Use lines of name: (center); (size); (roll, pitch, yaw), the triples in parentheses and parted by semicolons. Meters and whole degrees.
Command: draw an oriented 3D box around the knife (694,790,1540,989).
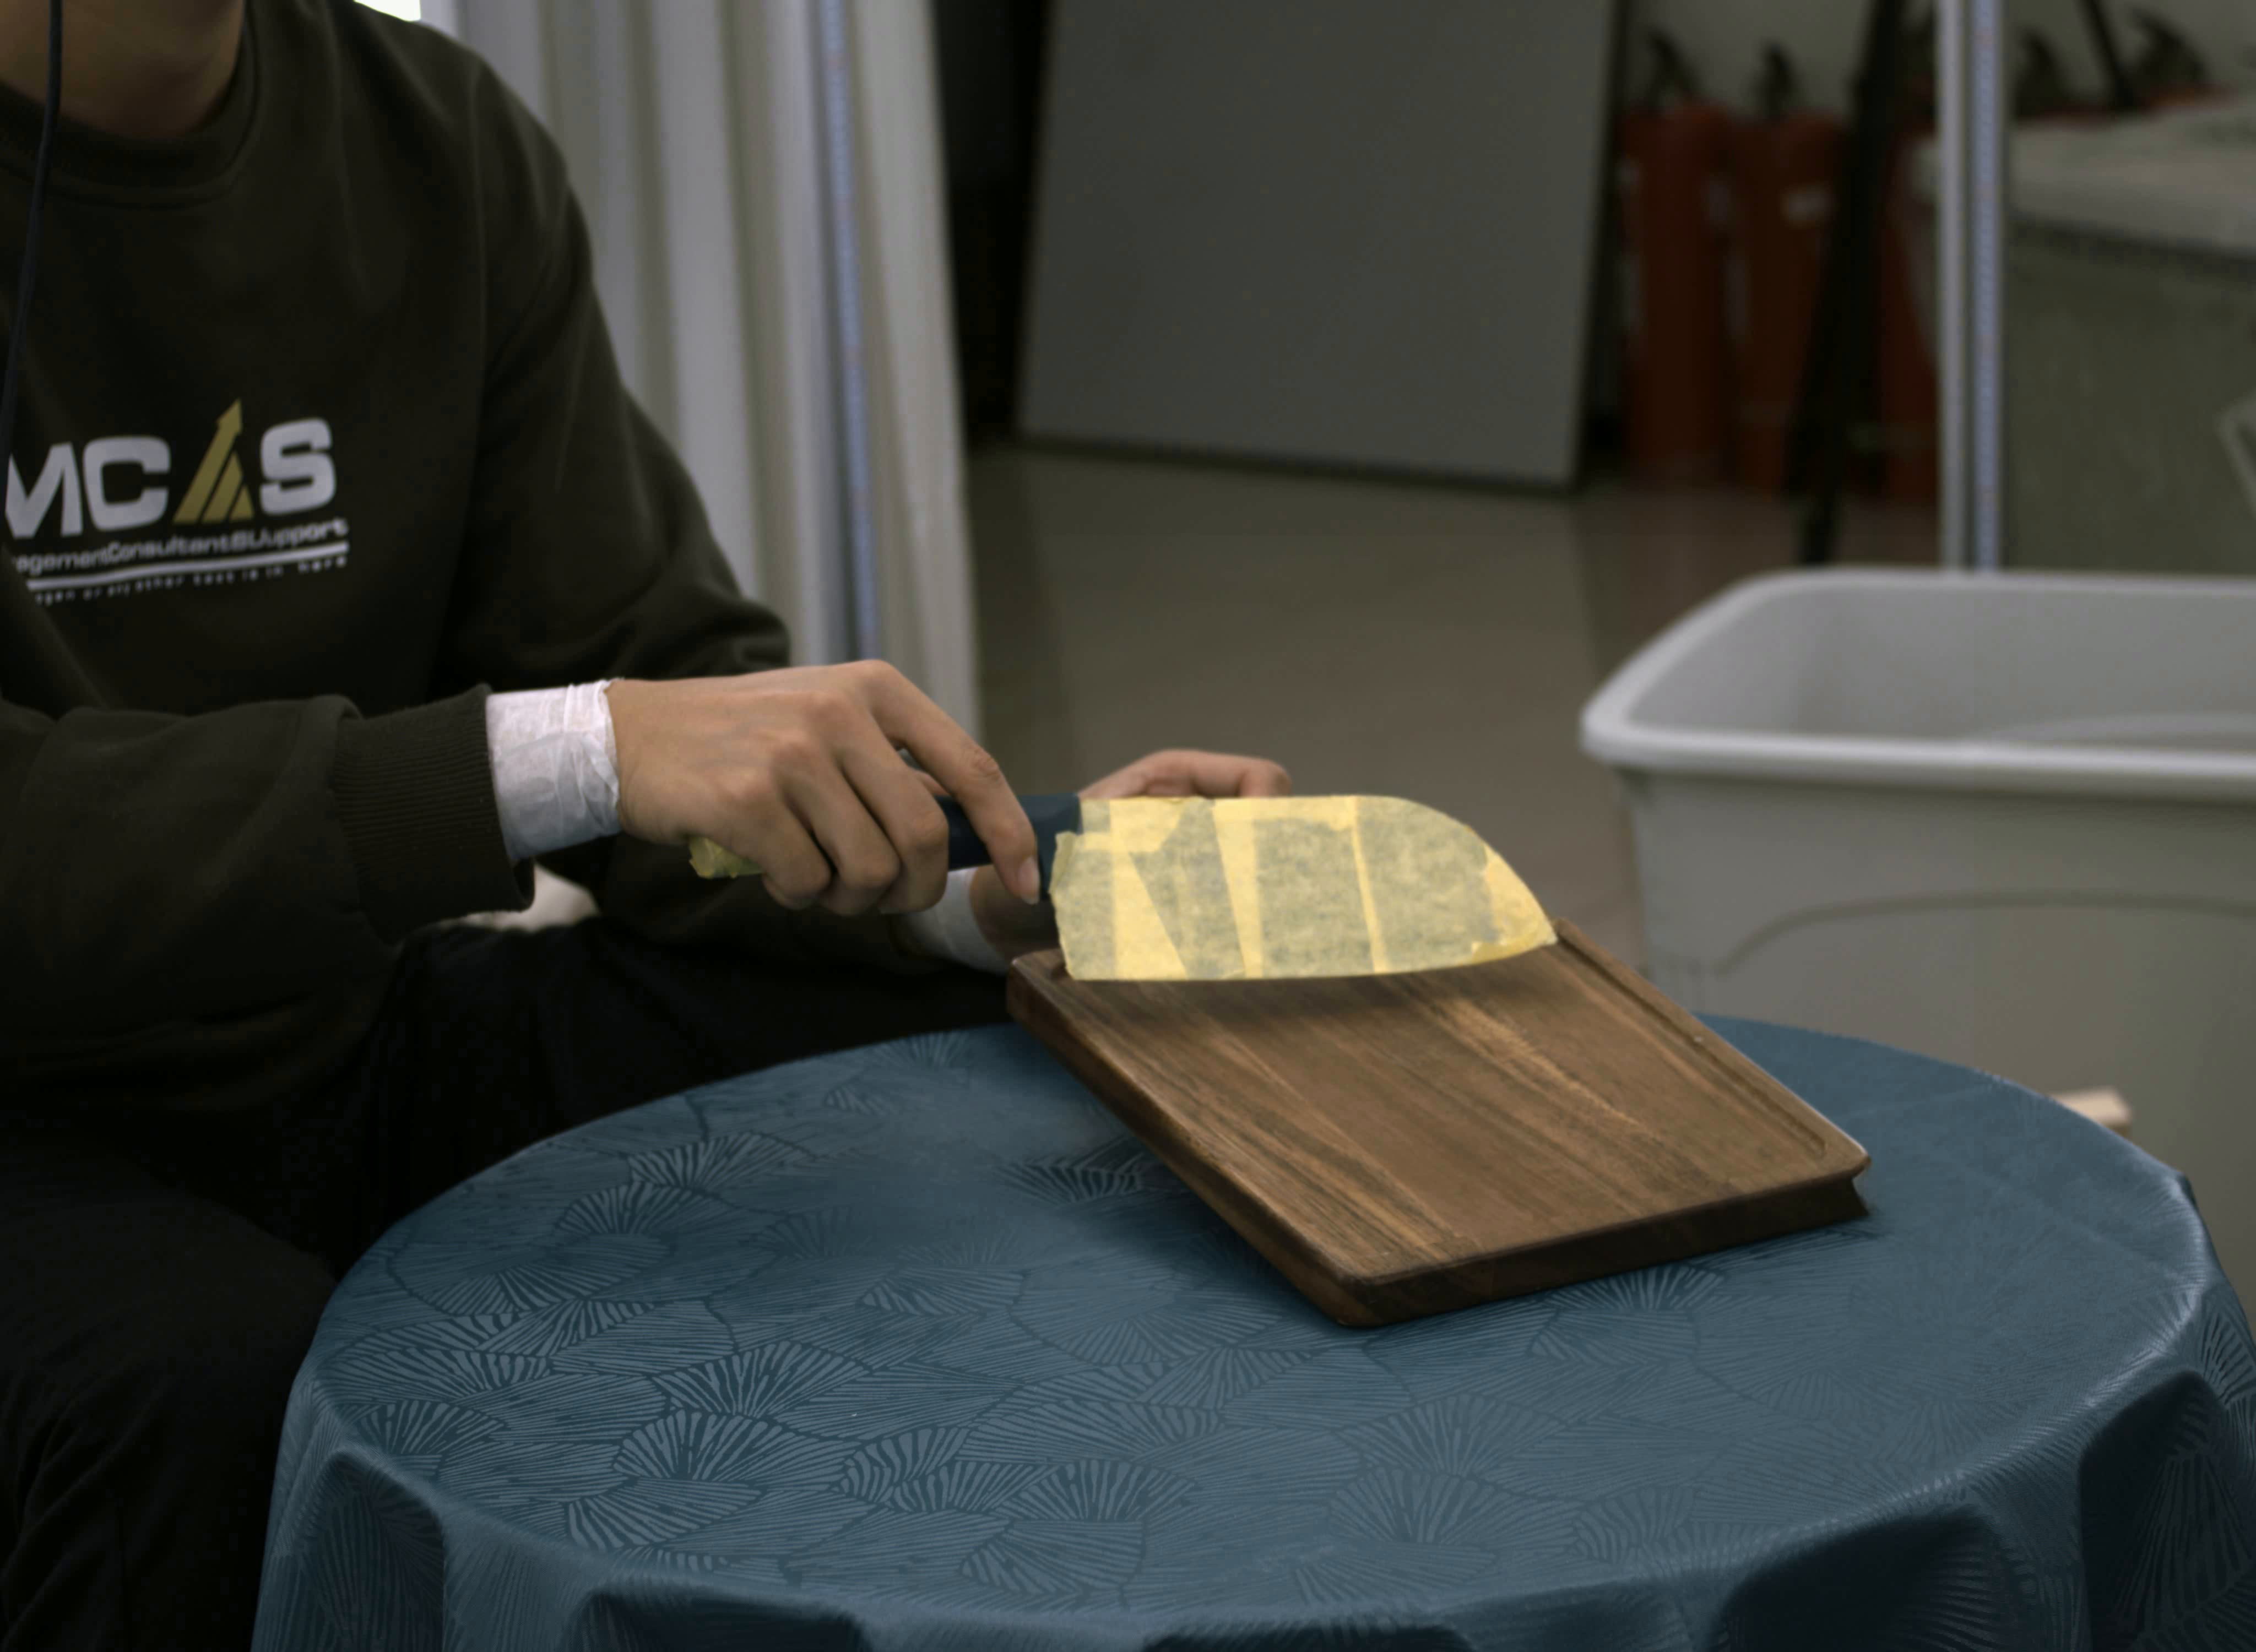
knife: (-0.001, 0.021, 1.797); (0.284, 0.027, 0.082); (0, 53, -8)

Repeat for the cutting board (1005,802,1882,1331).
cutting board: (0.077, 0.065, 1.798); (0.197, 0.023, 0.356); (-10, 26, -24)
